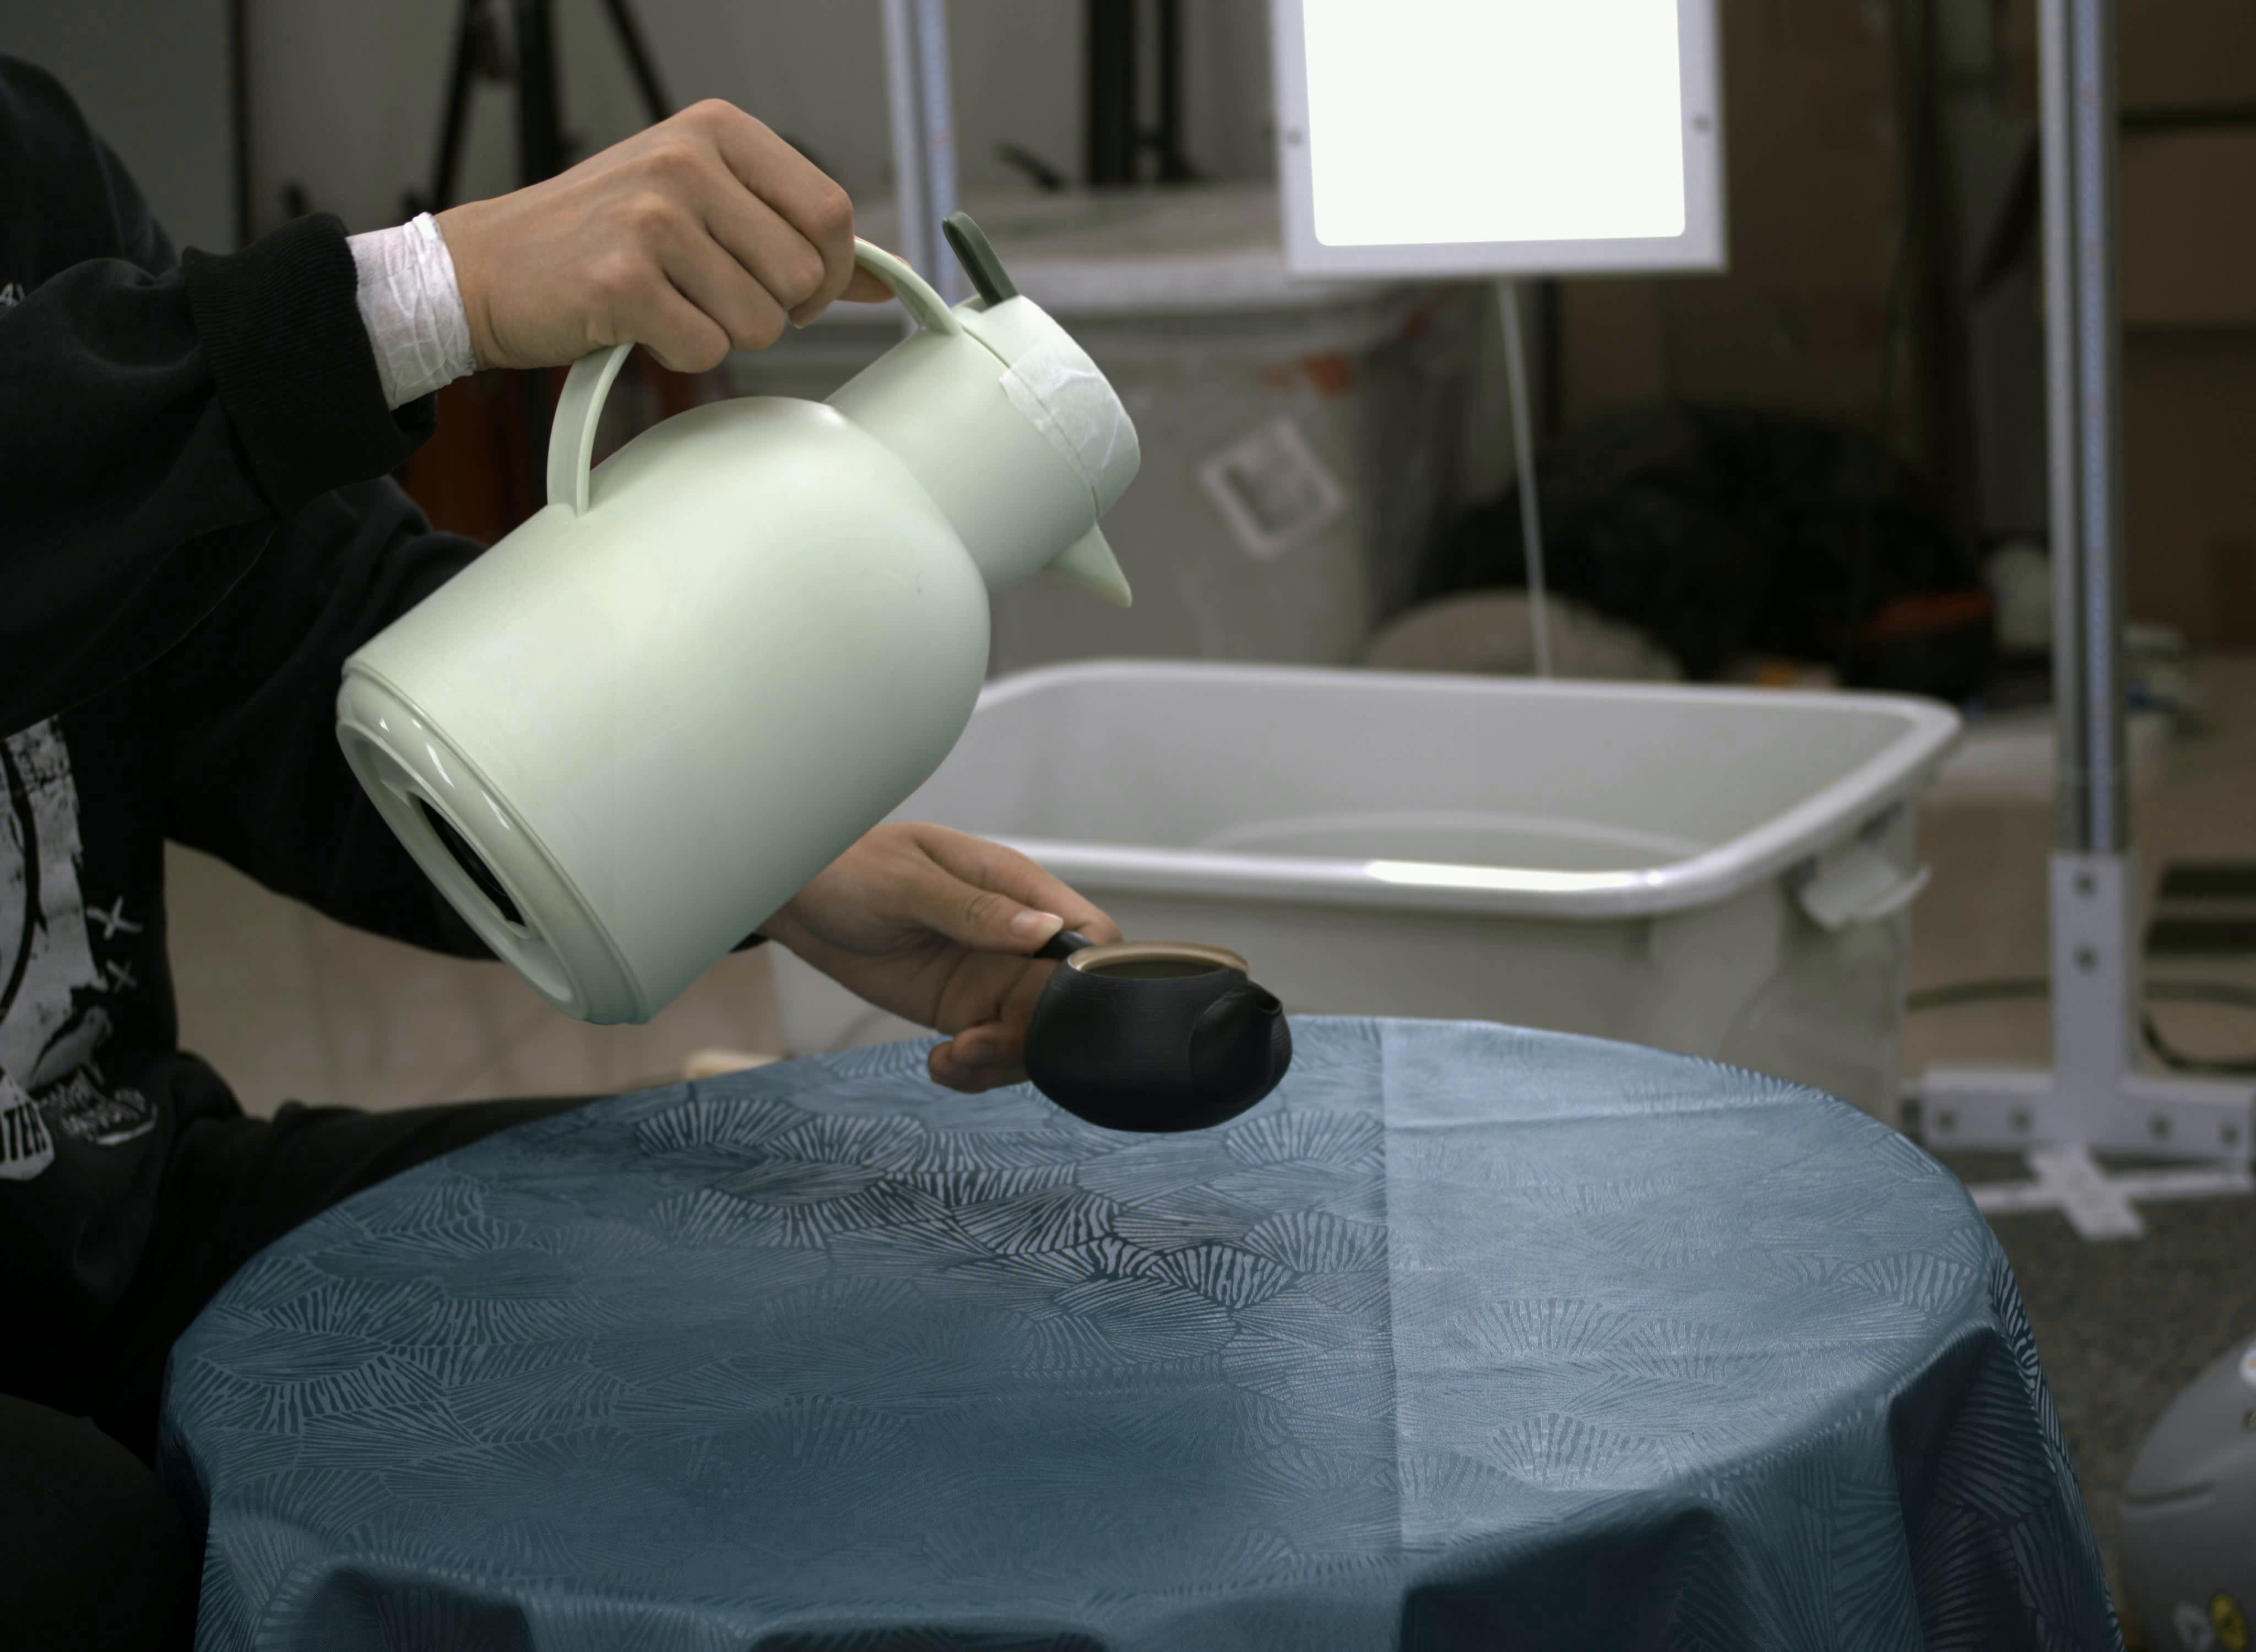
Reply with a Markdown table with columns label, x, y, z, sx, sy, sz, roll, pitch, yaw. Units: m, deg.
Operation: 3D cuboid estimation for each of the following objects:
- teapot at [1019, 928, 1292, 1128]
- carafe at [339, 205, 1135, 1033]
| label | x | y | z | sx | sy | sz | roll | pitch | yaw |
| --- | --- | --- | --- | --- | --- | --- | --- | --- | --- |
| teapot | 0.009 | 0.068 | 1.823 | 0.089 | 0.053 | 0.136 | -7 | 14 | -34 |
| carafe | -0.120 | -0.075 | 1.714 | 0.255 | 0.185 | 0.146 | -44 | 25 | -10 |
